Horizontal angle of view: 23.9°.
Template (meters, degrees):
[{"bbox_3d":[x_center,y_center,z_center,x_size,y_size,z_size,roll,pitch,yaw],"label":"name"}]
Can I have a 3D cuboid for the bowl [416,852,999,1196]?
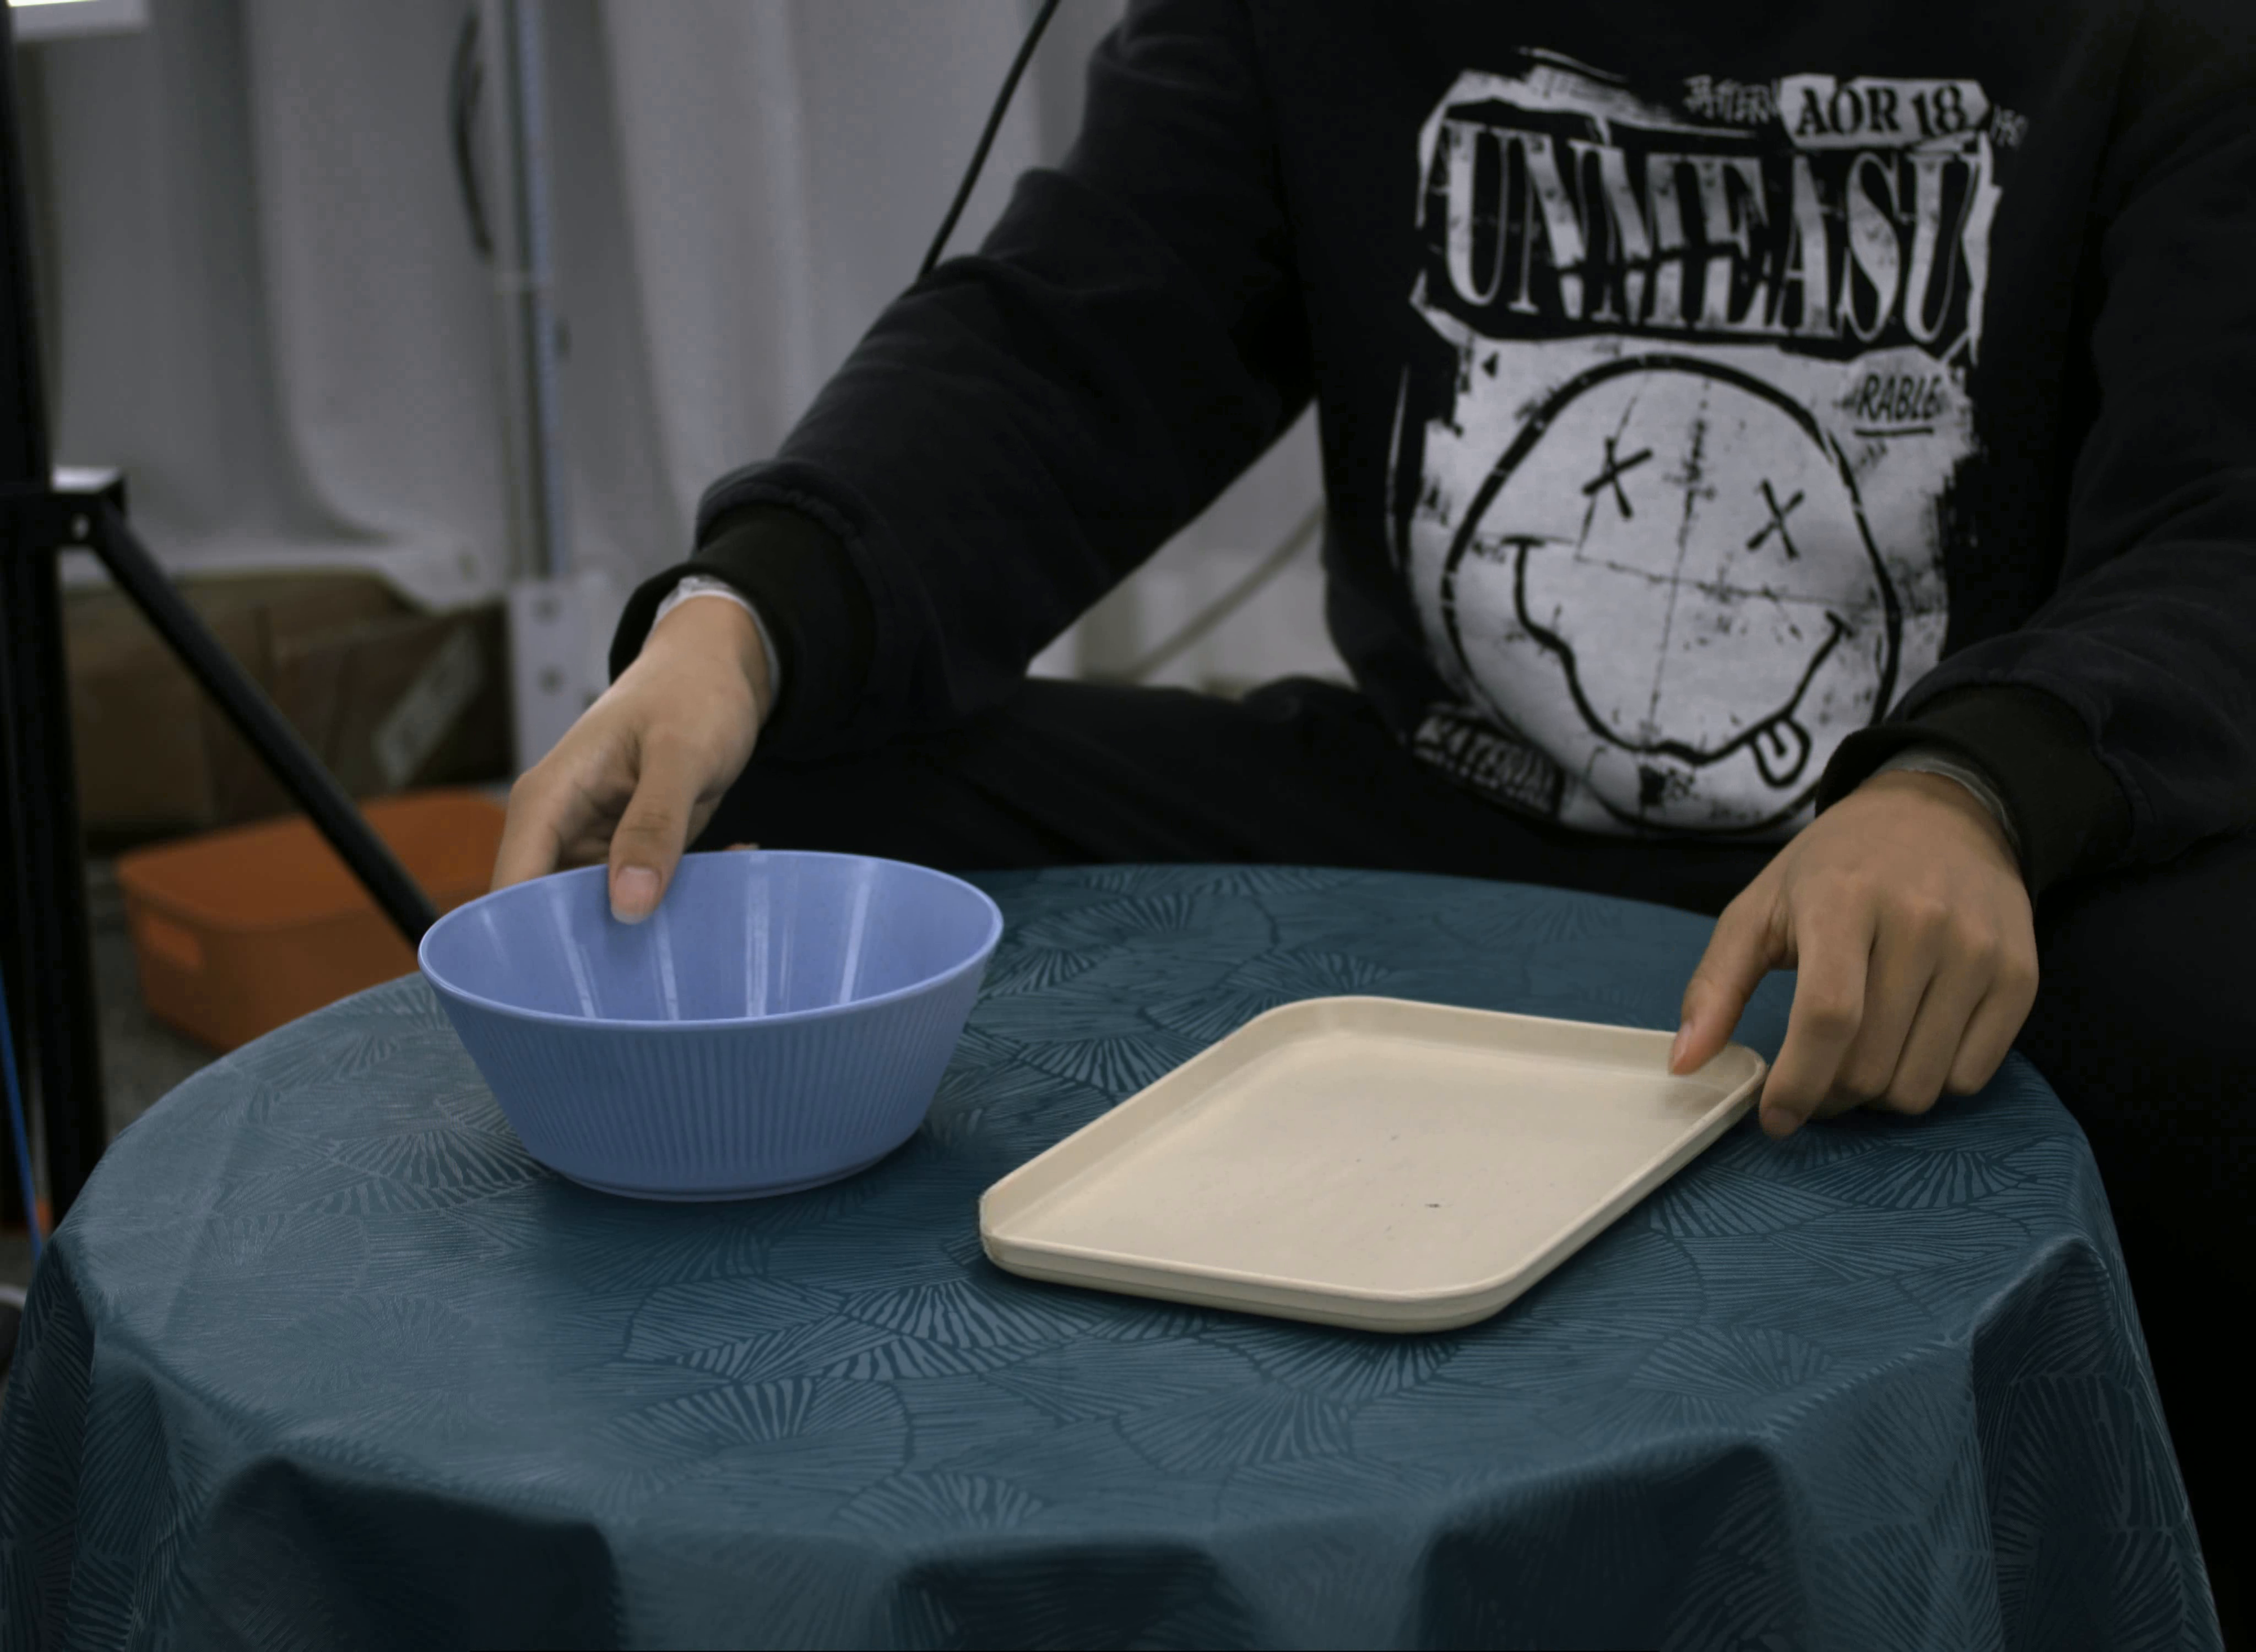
[{"bbox_3d":[-0.125,0.062,1.611,0.175,0.070,0.177,-2,16,-1],"label":"bowl"}]

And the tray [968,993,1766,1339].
[{"bbox_3d":[0.074,0.098,1.549,0.174,0.017,0.235,7,18,29],"label":"tray"}]
